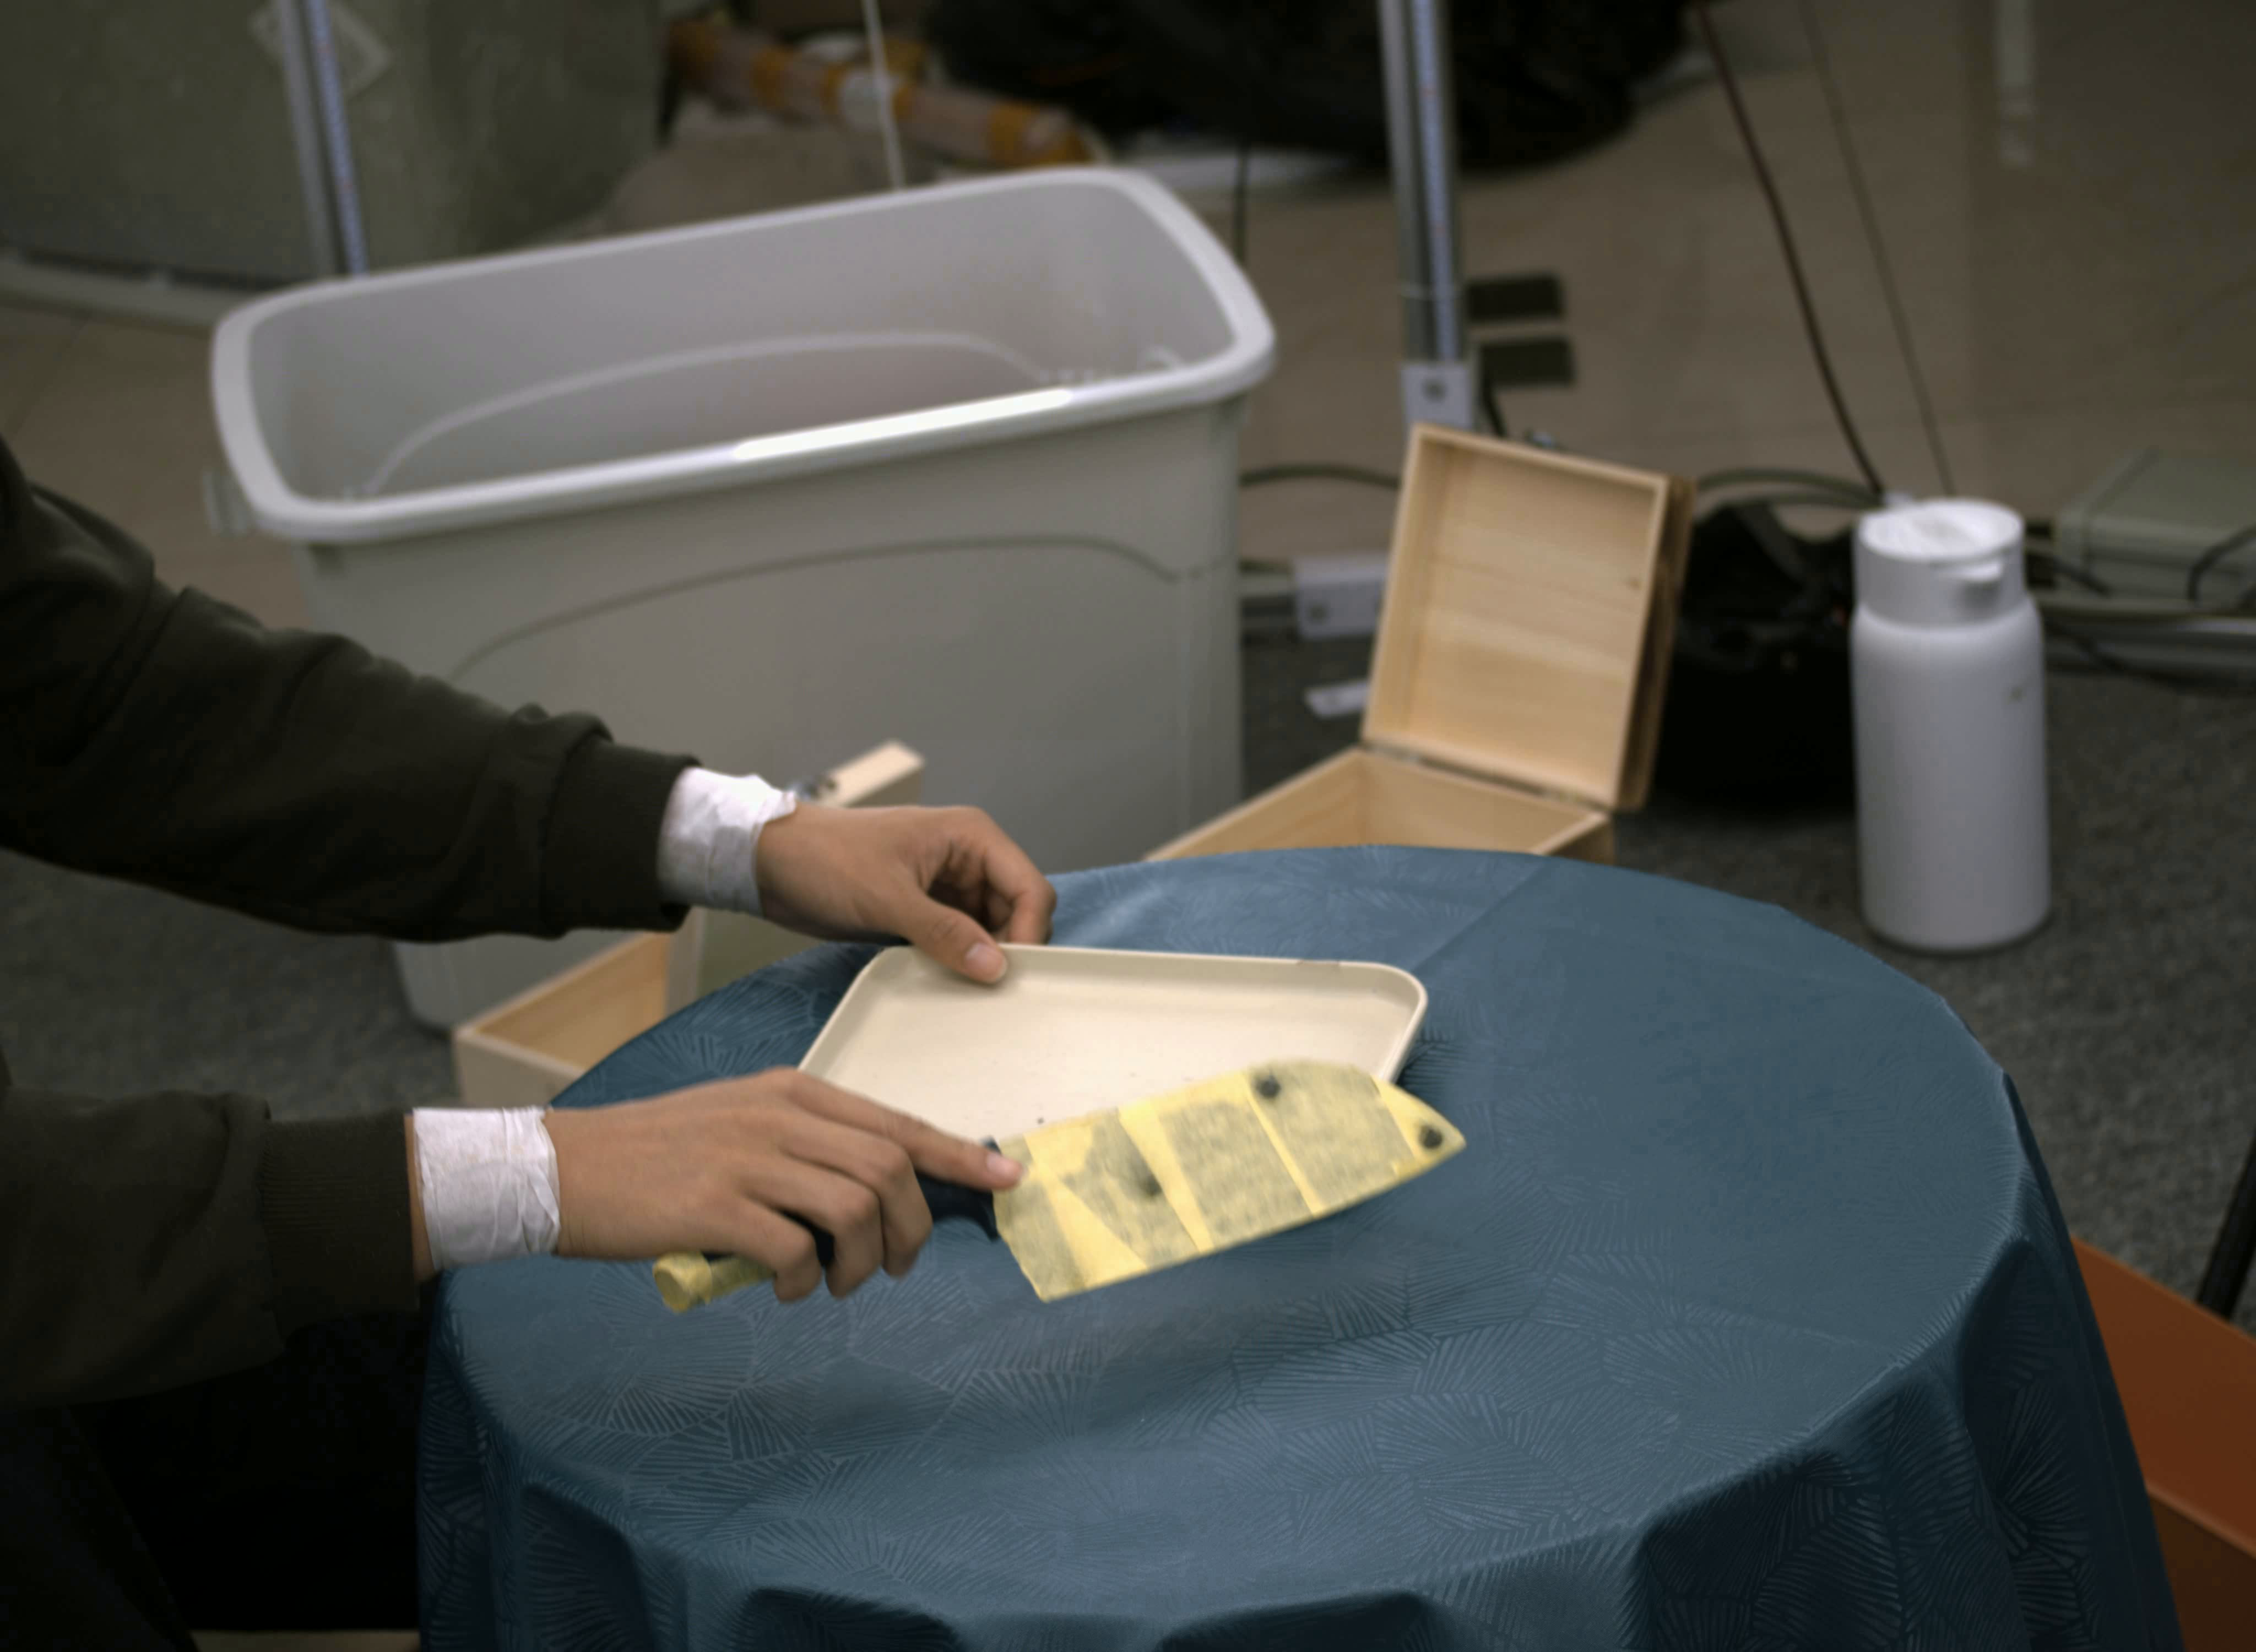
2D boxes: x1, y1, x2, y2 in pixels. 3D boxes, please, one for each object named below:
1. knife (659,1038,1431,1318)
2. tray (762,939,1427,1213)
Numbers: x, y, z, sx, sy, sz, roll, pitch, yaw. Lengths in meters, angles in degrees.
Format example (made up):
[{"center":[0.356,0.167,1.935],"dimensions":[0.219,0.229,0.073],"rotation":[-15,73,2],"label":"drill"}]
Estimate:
[{"center":[-0.025,0.132,2.015],"dimensions":[0.288,0.028,0.080],"rotation":[-16,50,-15],"label":"knife"},{"center":[-0.012,0.097,2.211],"dimensions":[0.239,0.018,0.168],"rotation":[3,31,18],"label":"tray"}]
